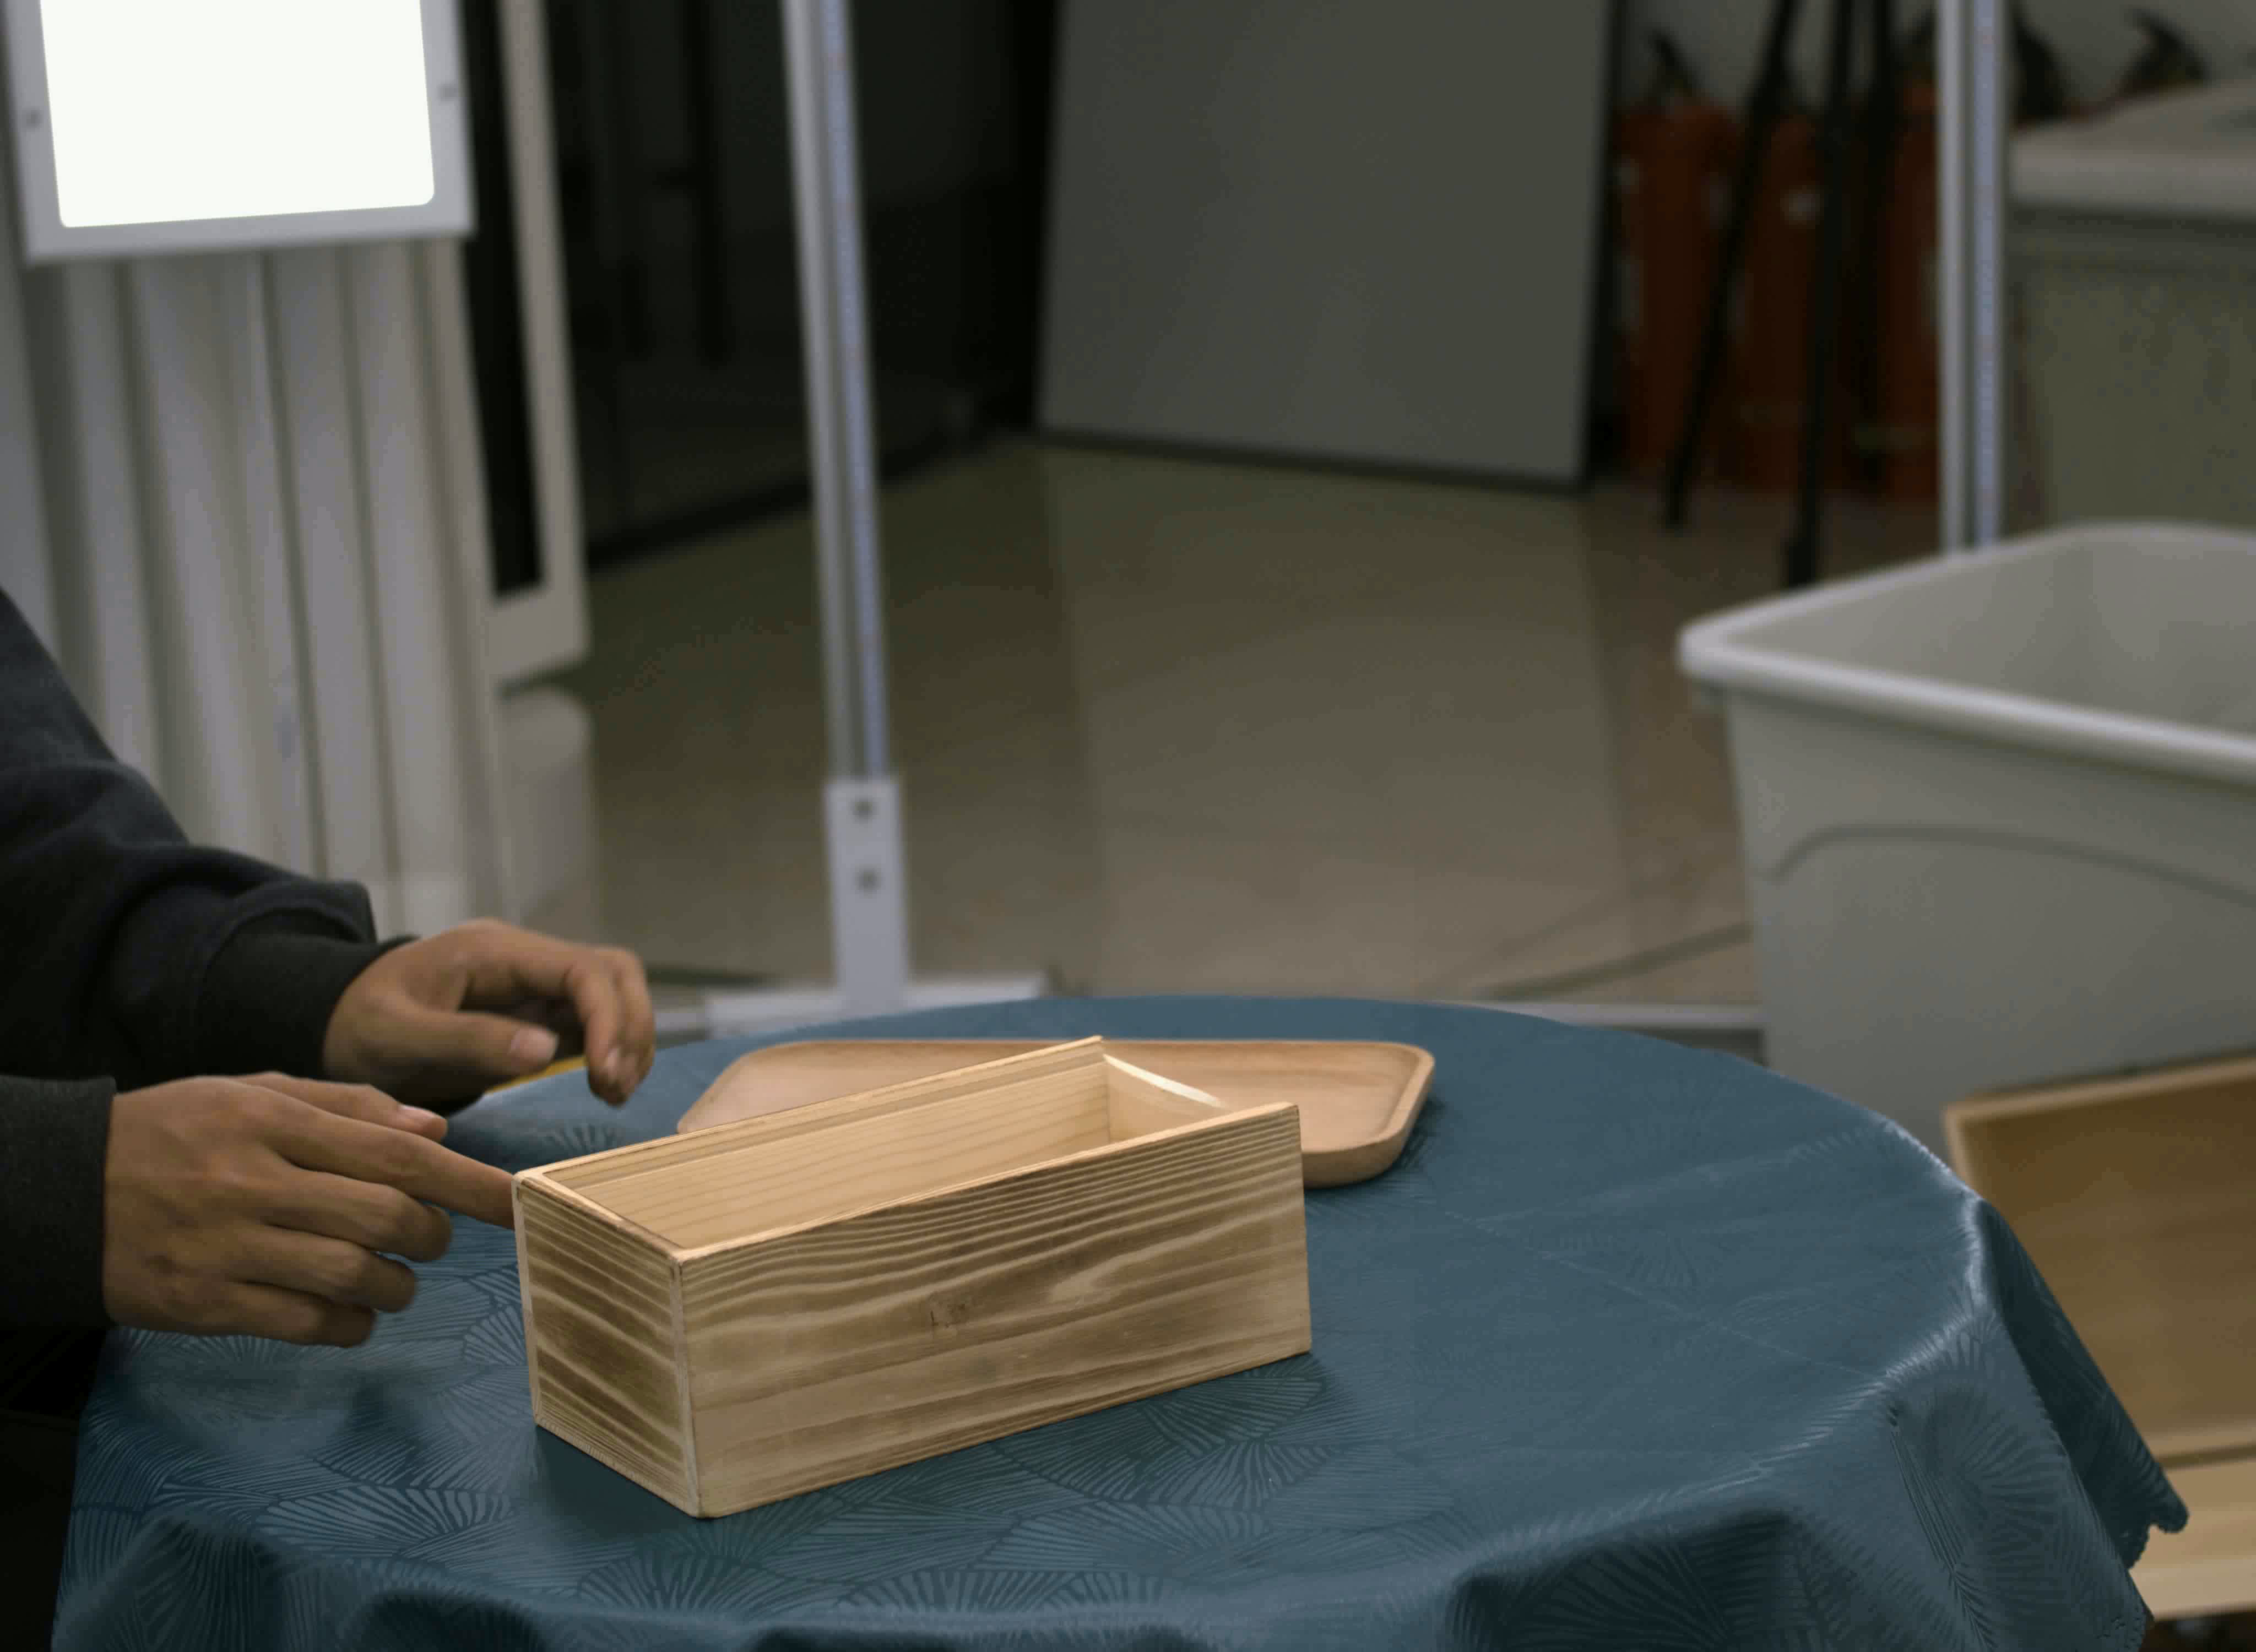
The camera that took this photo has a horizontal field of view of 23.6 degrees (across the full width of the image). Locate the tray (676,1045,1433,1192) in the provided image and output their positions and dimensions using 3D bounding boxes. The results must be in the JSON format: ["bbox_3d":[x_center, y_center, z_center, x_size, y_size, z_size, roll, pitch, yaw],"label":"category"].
[{"bbox_3d":[-0.024,0.099,1.832,0.249,0.023,0.129,-1,11,14],"label":"tray"}]

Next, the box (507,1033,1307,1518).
[{"bbox_3d":[-0.063,0.129,1.588,0.207,0.081,0.108,-12,16,-30],"label":"box"}]
